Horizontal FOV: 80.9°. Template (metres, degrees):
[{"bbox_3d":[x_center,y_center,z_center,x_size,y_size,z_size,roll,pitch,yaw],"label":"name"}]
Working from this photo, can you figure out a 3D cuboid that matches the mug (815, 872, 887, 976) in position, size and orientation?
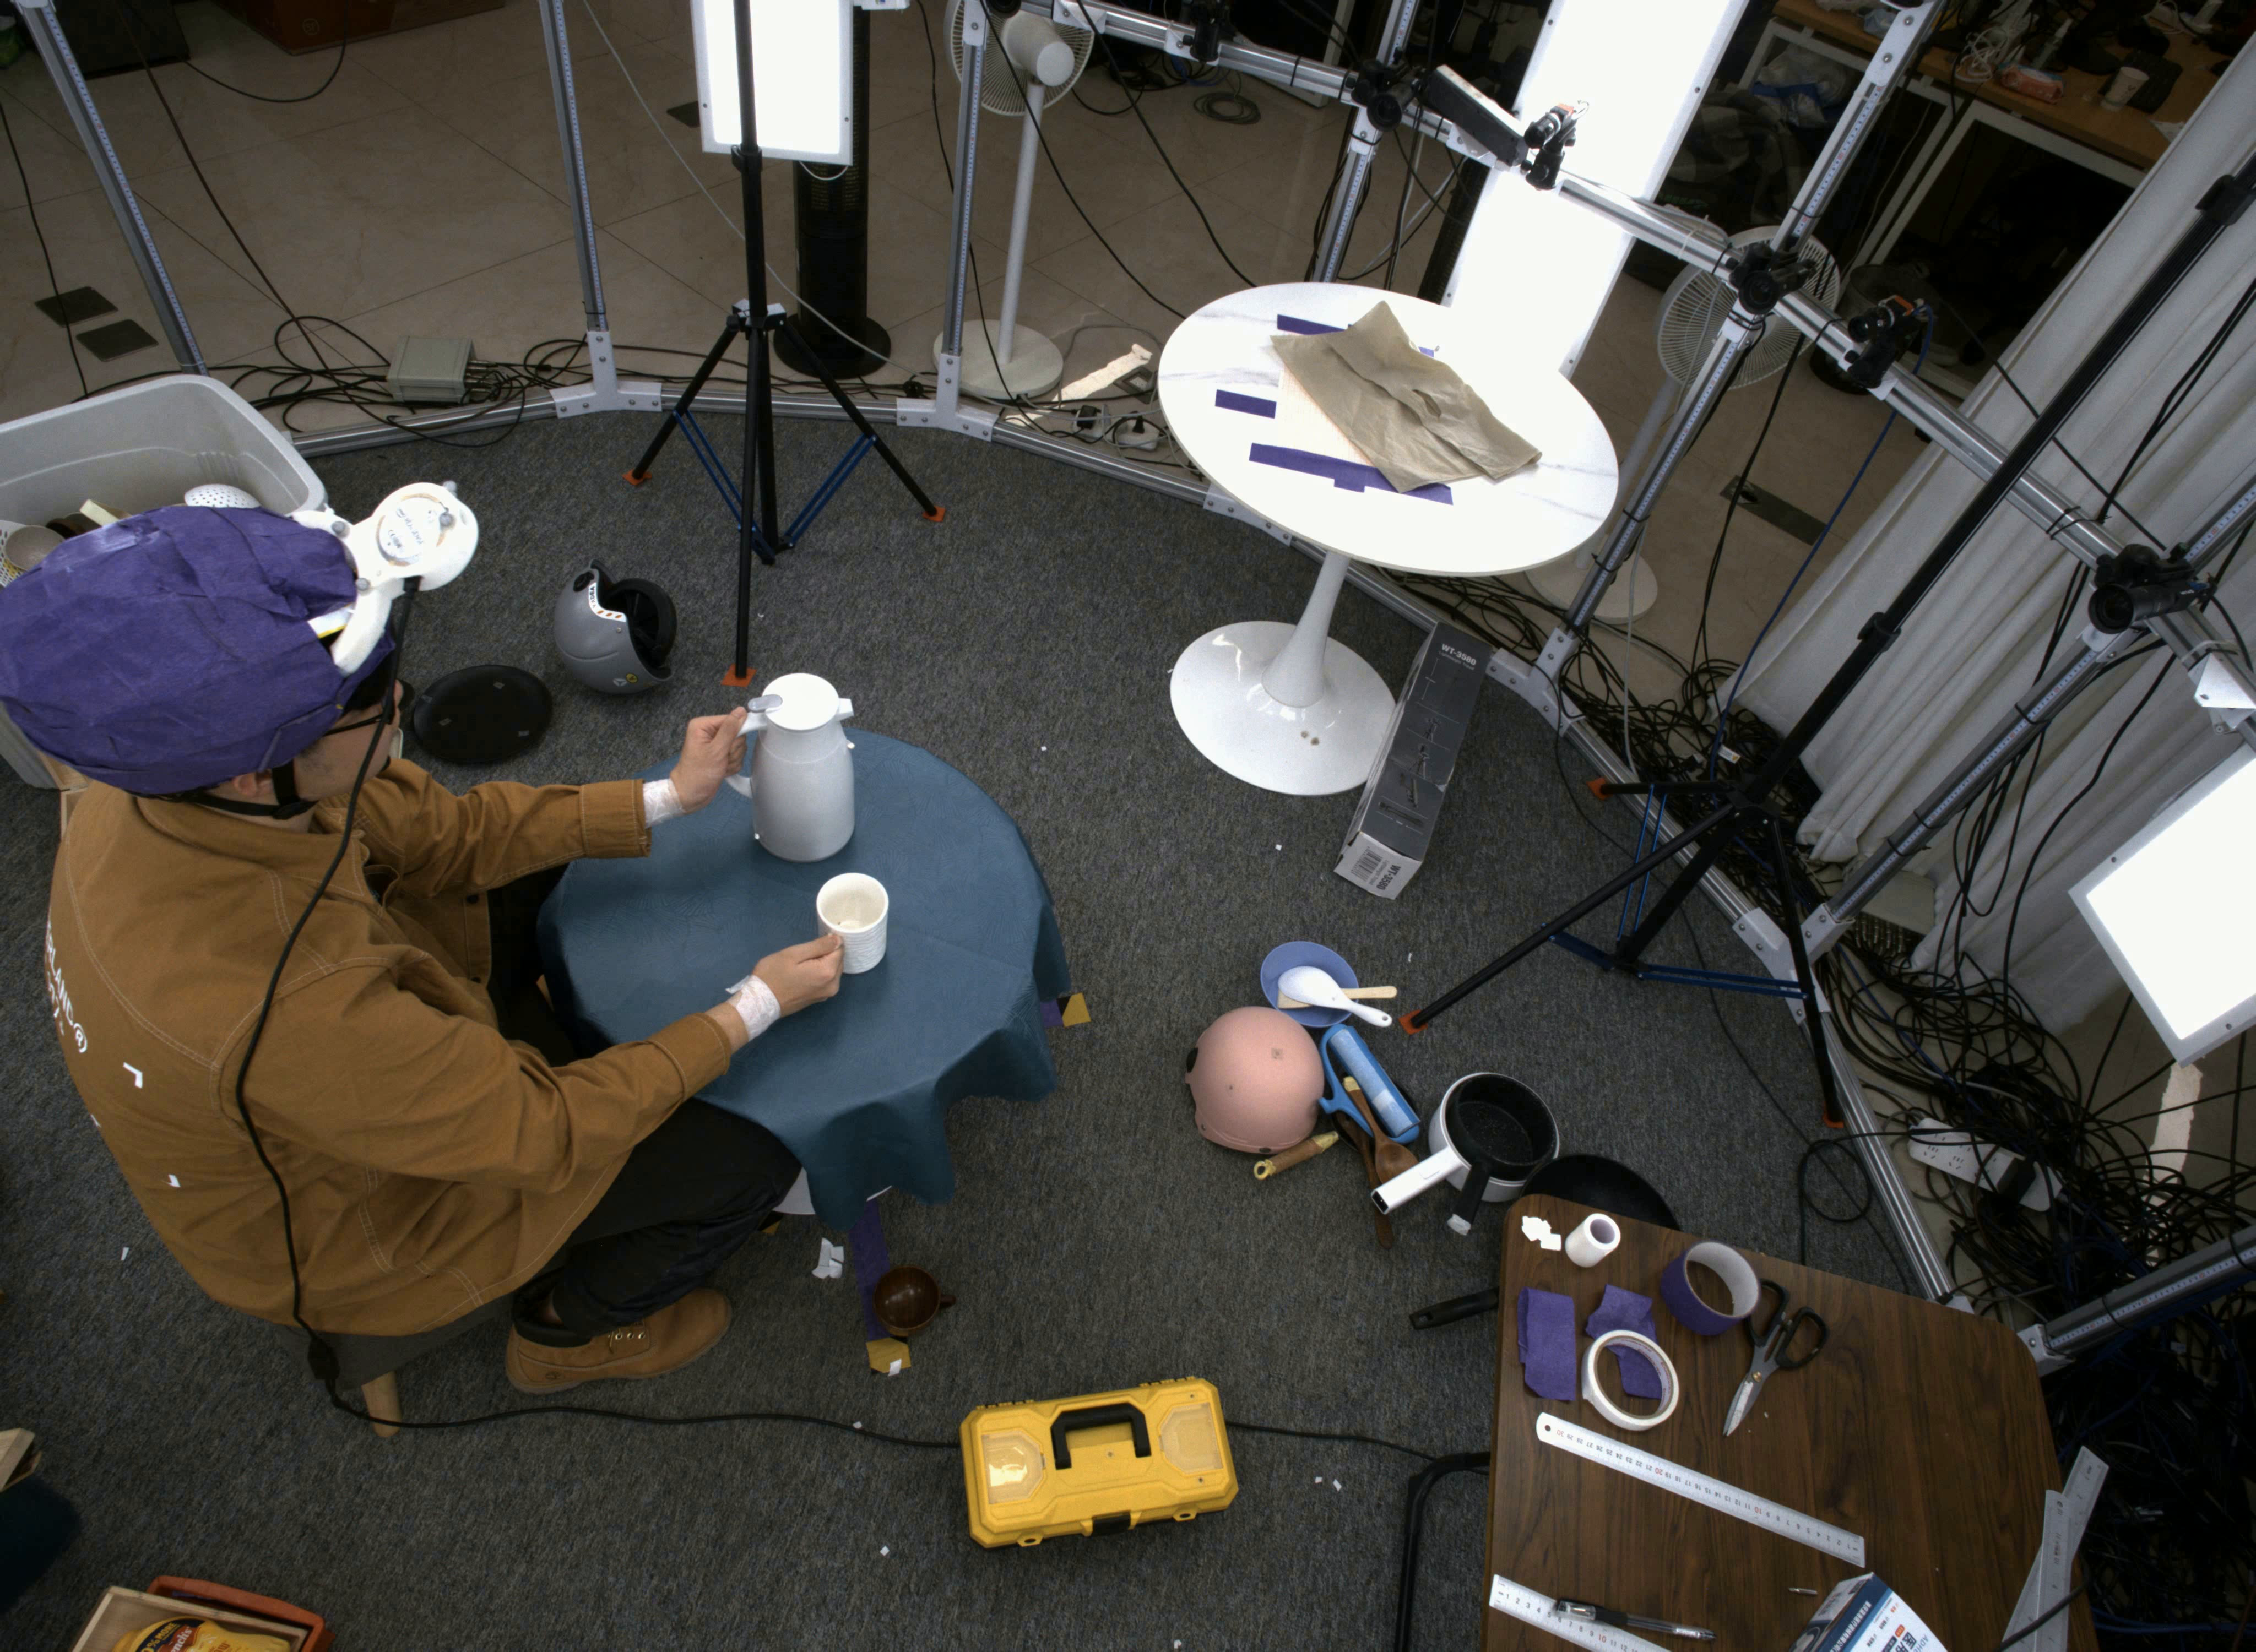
[{"bbox_3d":[-0.343,0.130,1.579,0.084,0.104,0.117,22,52,6],"label":"mug"}]

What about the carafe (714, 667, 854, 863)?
[{"bbox_3d":[-0.429,-0.078,1.618,0.168,0.254,0.129,-9,55,-18],"label":"carafe"}]
